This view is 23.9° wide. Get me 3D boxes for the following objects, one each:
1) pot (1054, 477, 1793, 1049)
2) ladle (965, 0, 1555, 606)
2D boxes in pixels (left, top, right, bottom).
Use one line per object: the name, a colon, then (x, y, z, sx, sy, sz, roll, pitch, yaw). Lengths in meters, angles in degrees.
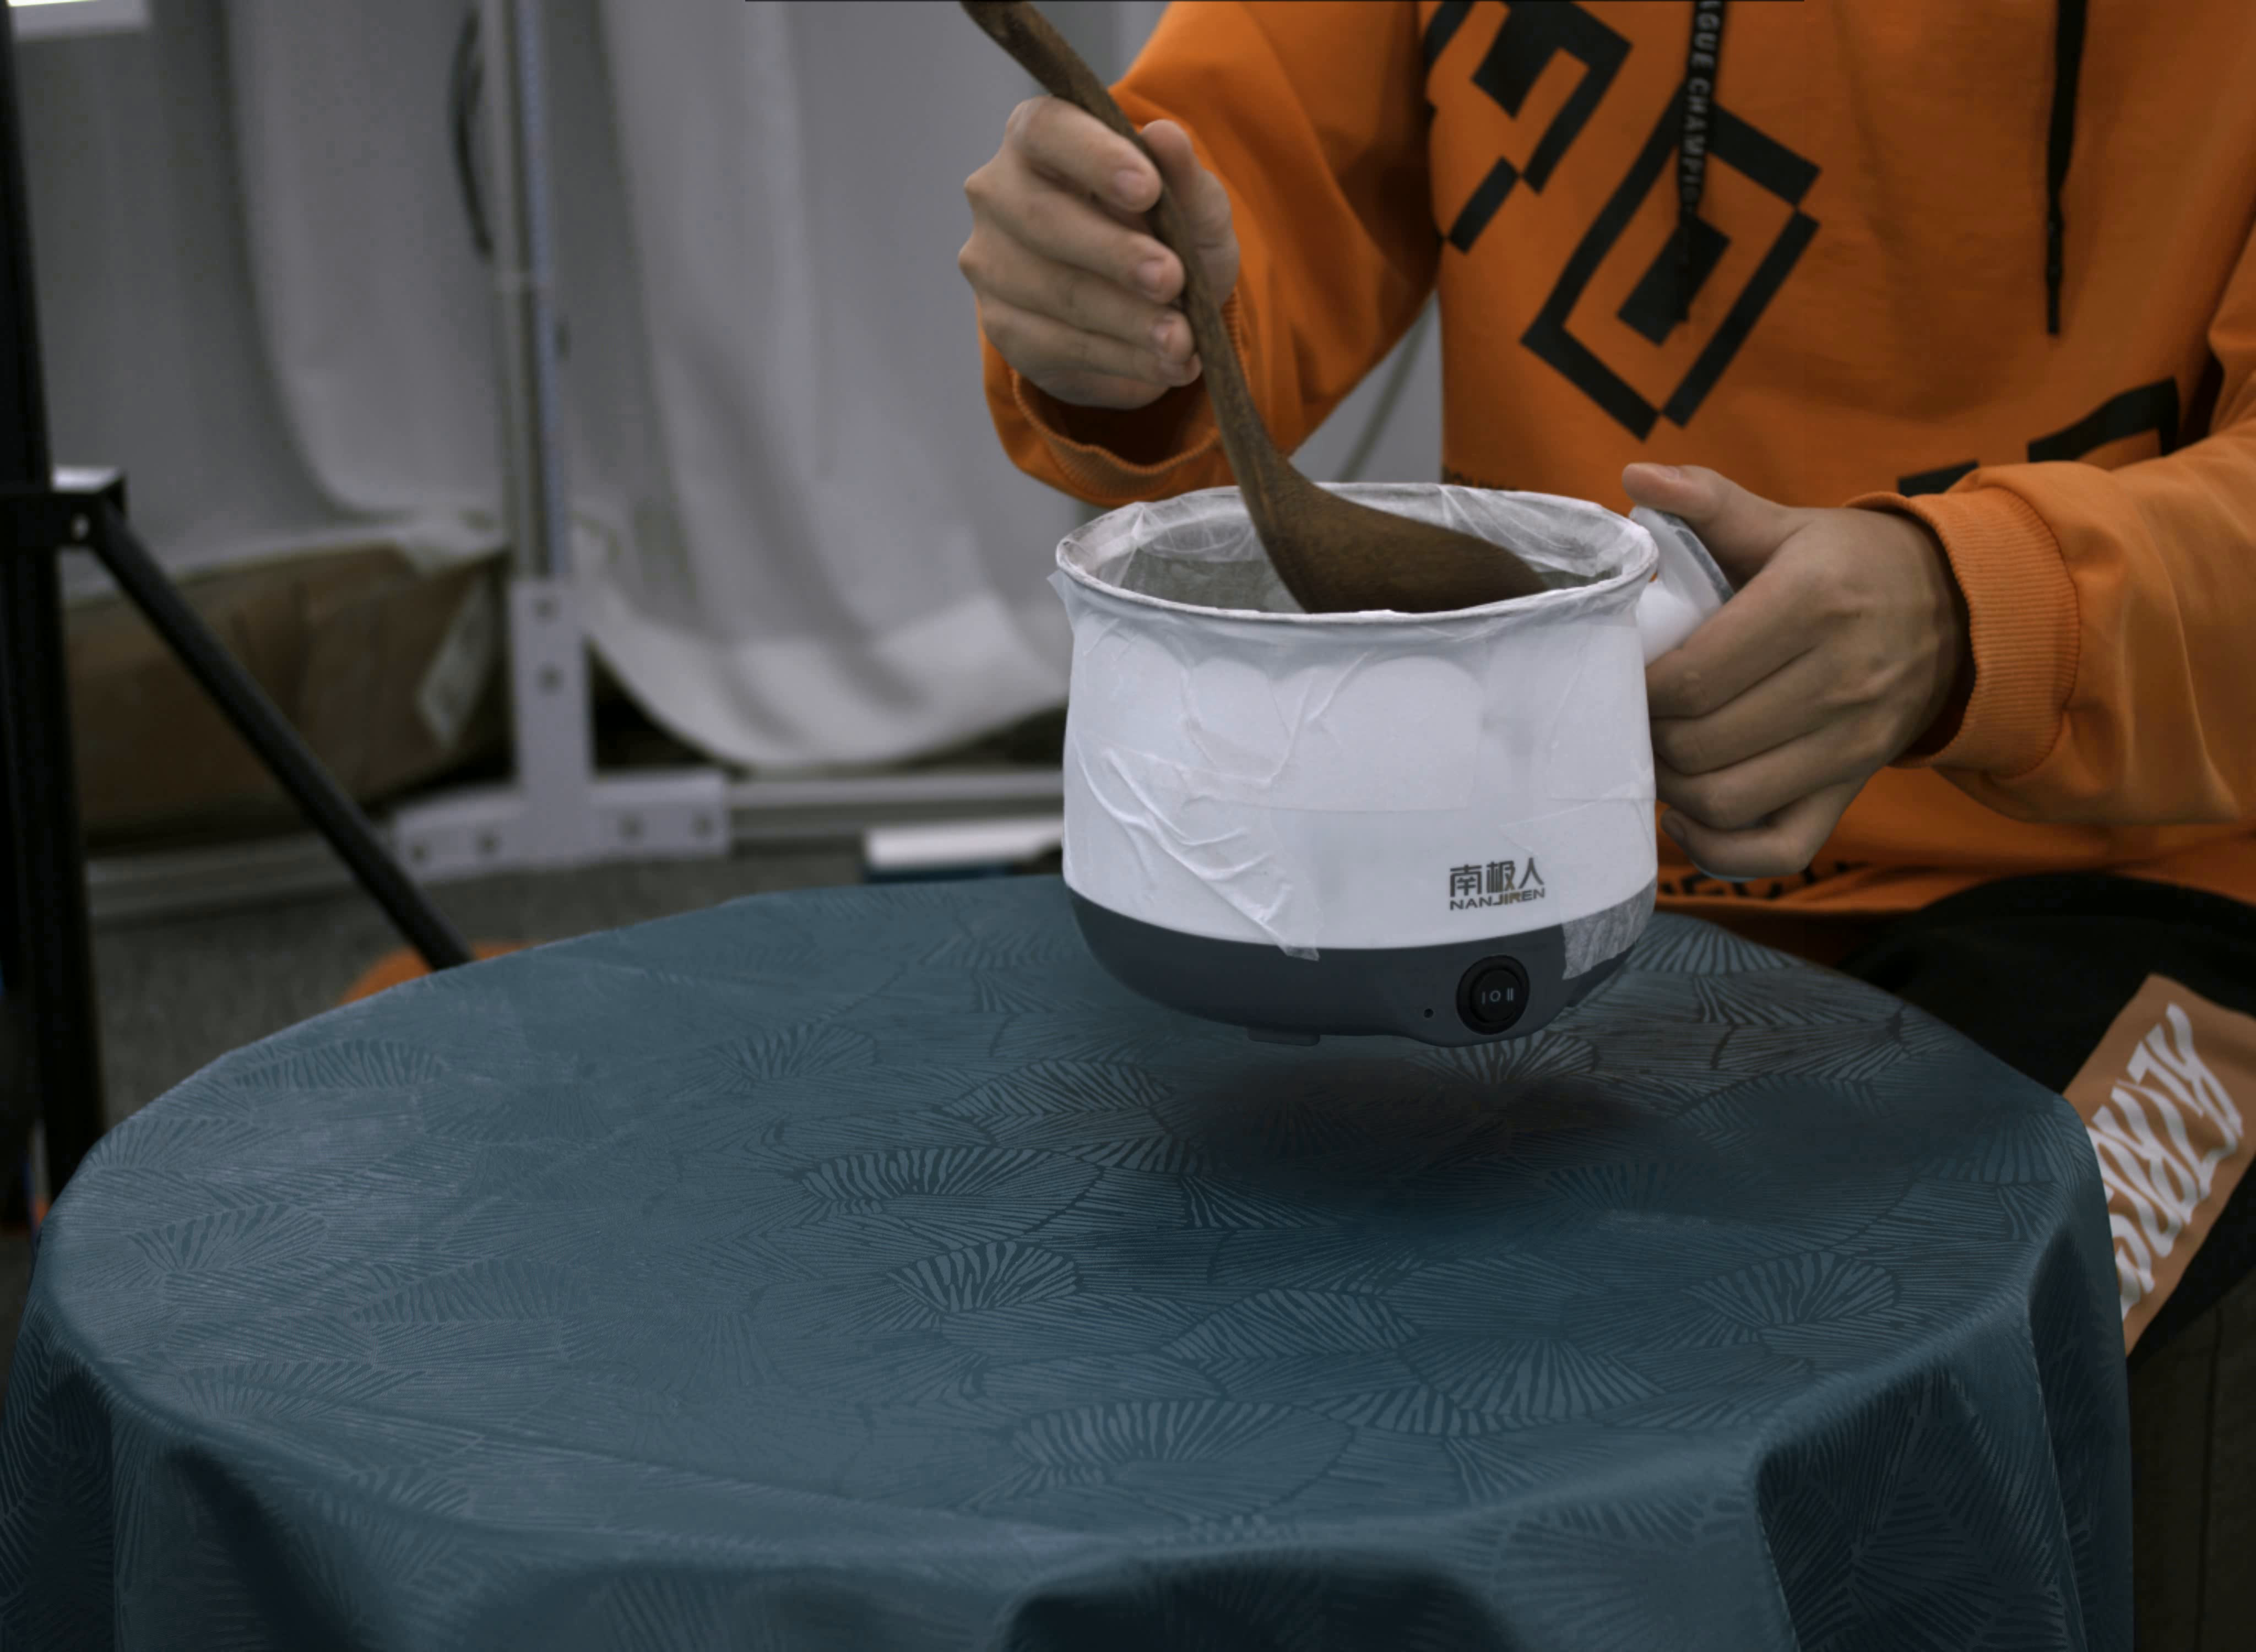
pot: (0.092, -0.024, 1.580, 0.229, 0.136, 0.182, -8, 17, -23)
ladle: (0.037, -0.159, 1.571, 0.070, 0.278, 0.076, -21, -23, -13)
